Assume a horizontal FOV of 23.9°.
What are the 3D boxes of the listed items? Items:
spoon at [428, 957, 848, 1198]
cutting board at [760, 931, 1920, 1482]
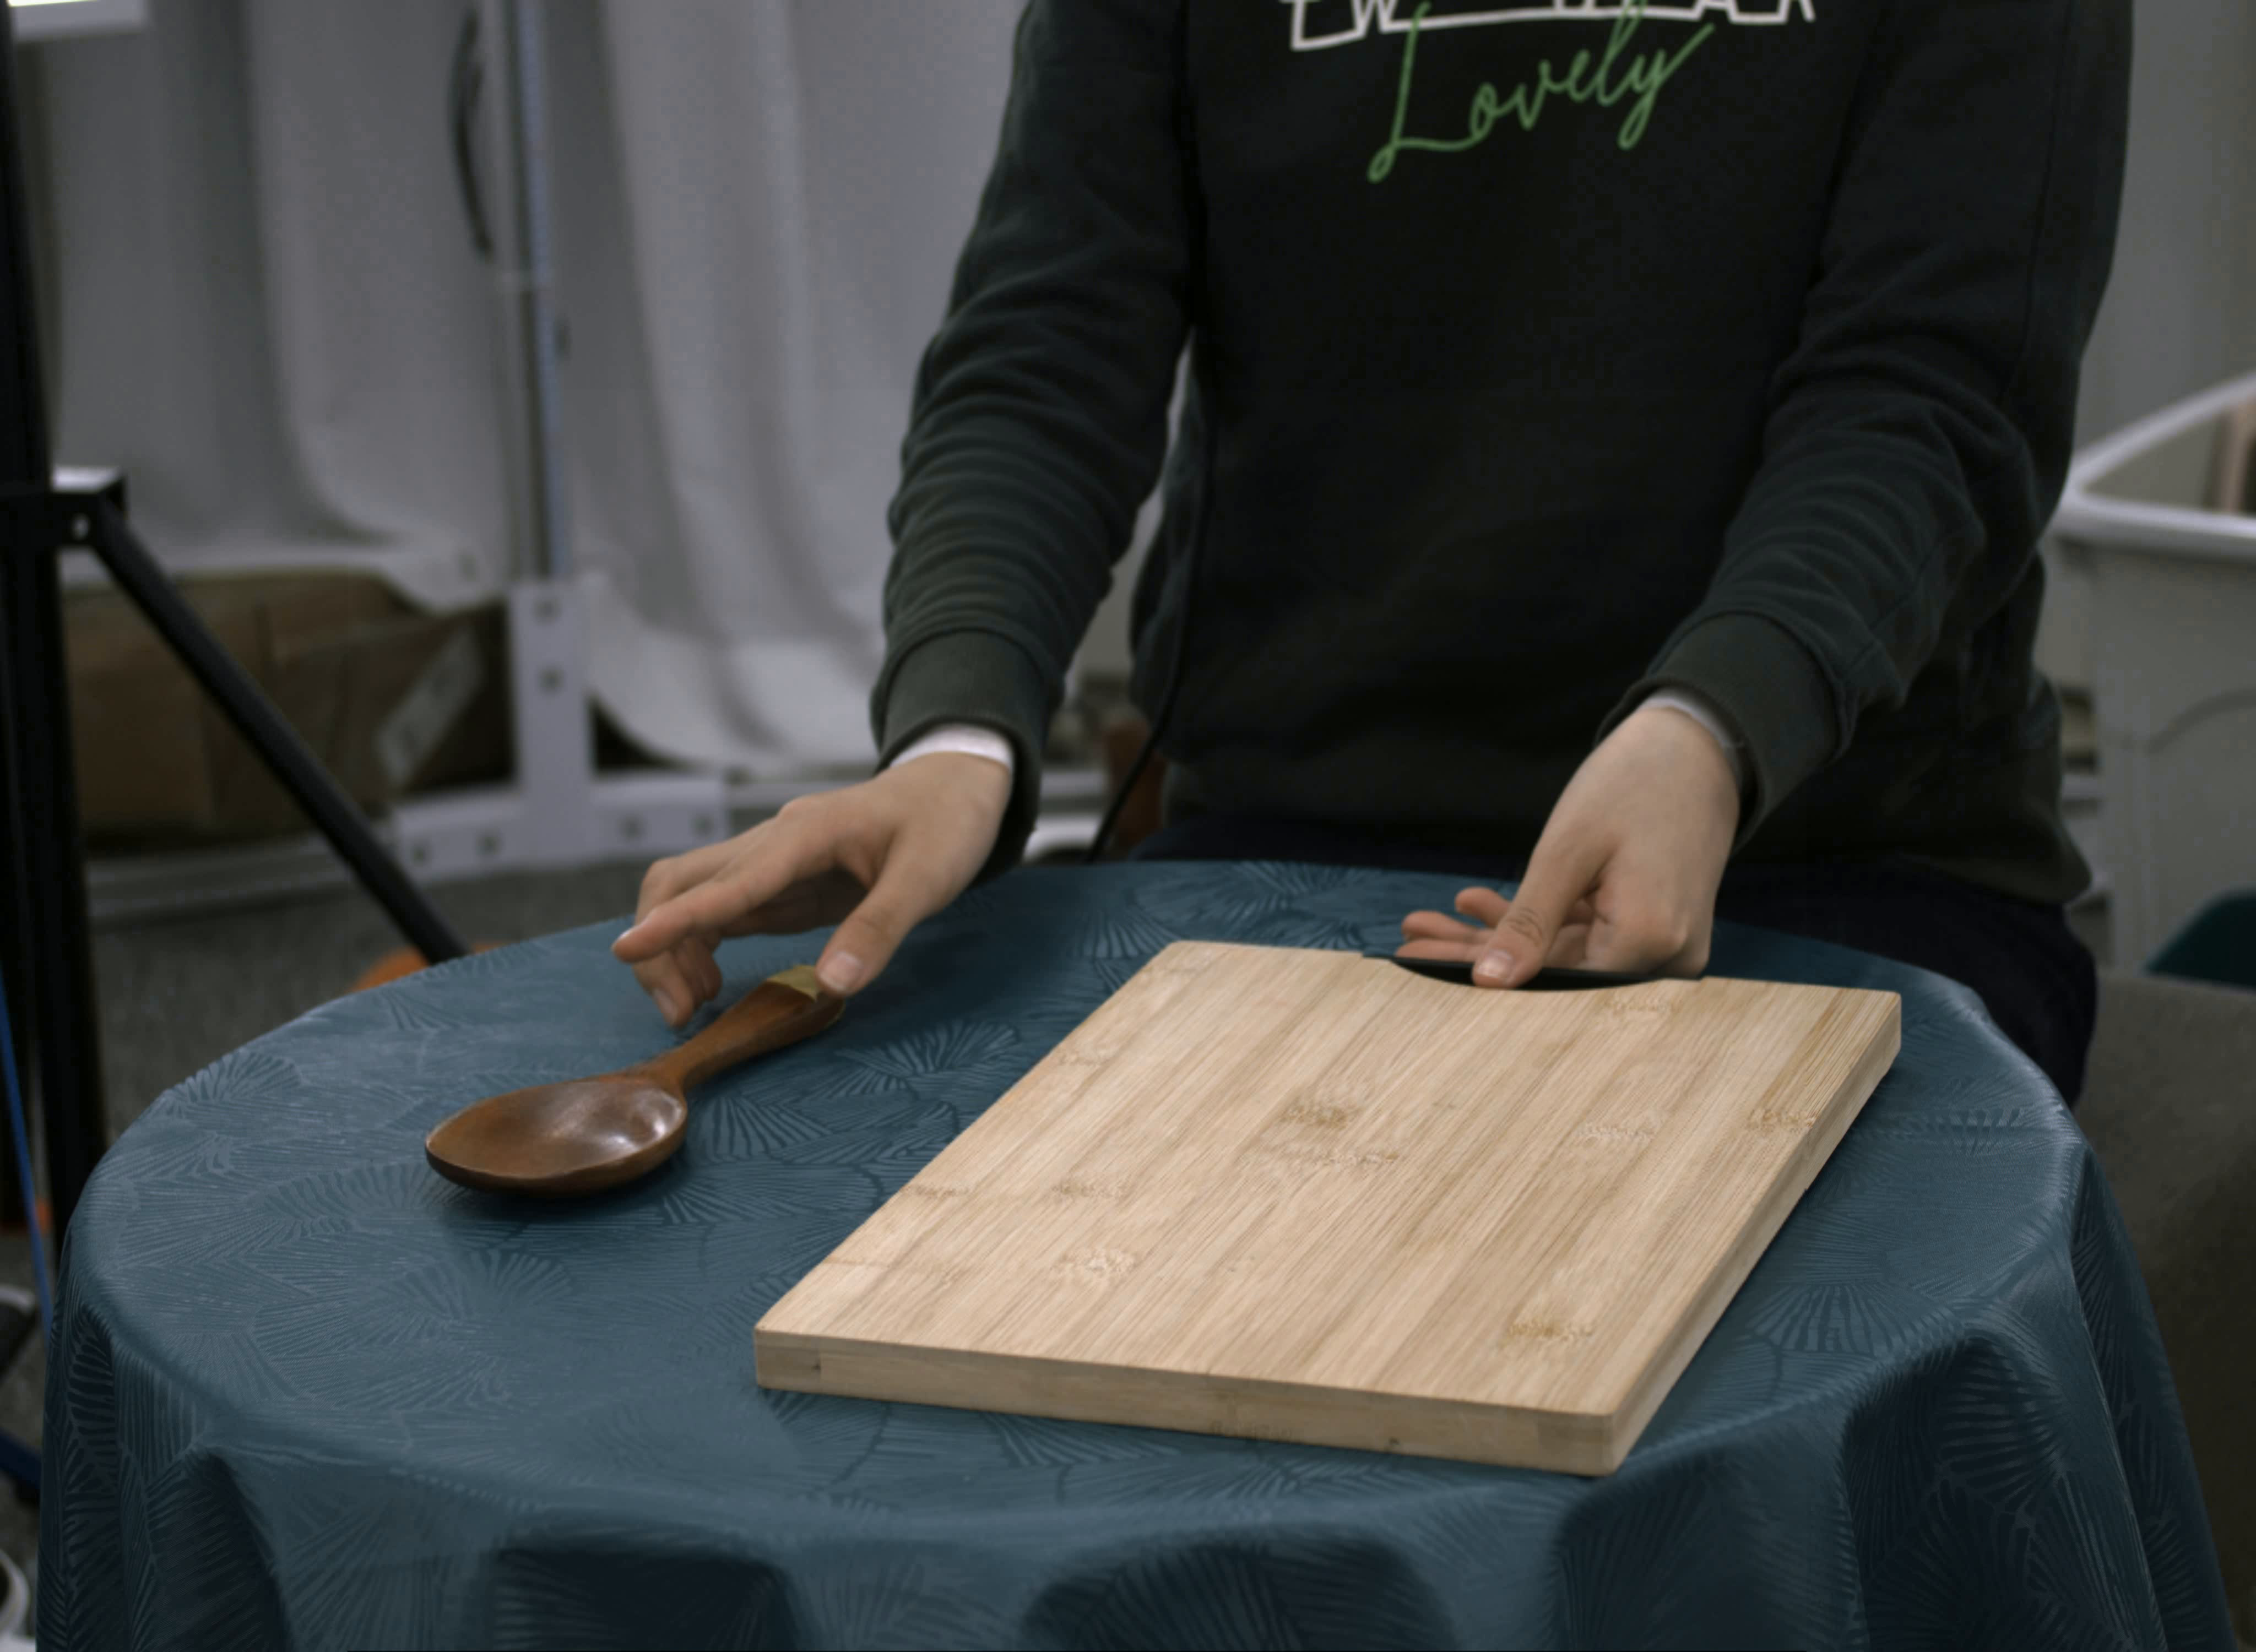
[{"bbox_3d":[-0.142,0.079,1.651,0.076,0.017,0.212,3,17,25],"label":"spoon"},{"bbox_3d":[0.072,0.100,1.531,0.253,0.023,0.345,4,18,20],"label":"cutting board"}]
